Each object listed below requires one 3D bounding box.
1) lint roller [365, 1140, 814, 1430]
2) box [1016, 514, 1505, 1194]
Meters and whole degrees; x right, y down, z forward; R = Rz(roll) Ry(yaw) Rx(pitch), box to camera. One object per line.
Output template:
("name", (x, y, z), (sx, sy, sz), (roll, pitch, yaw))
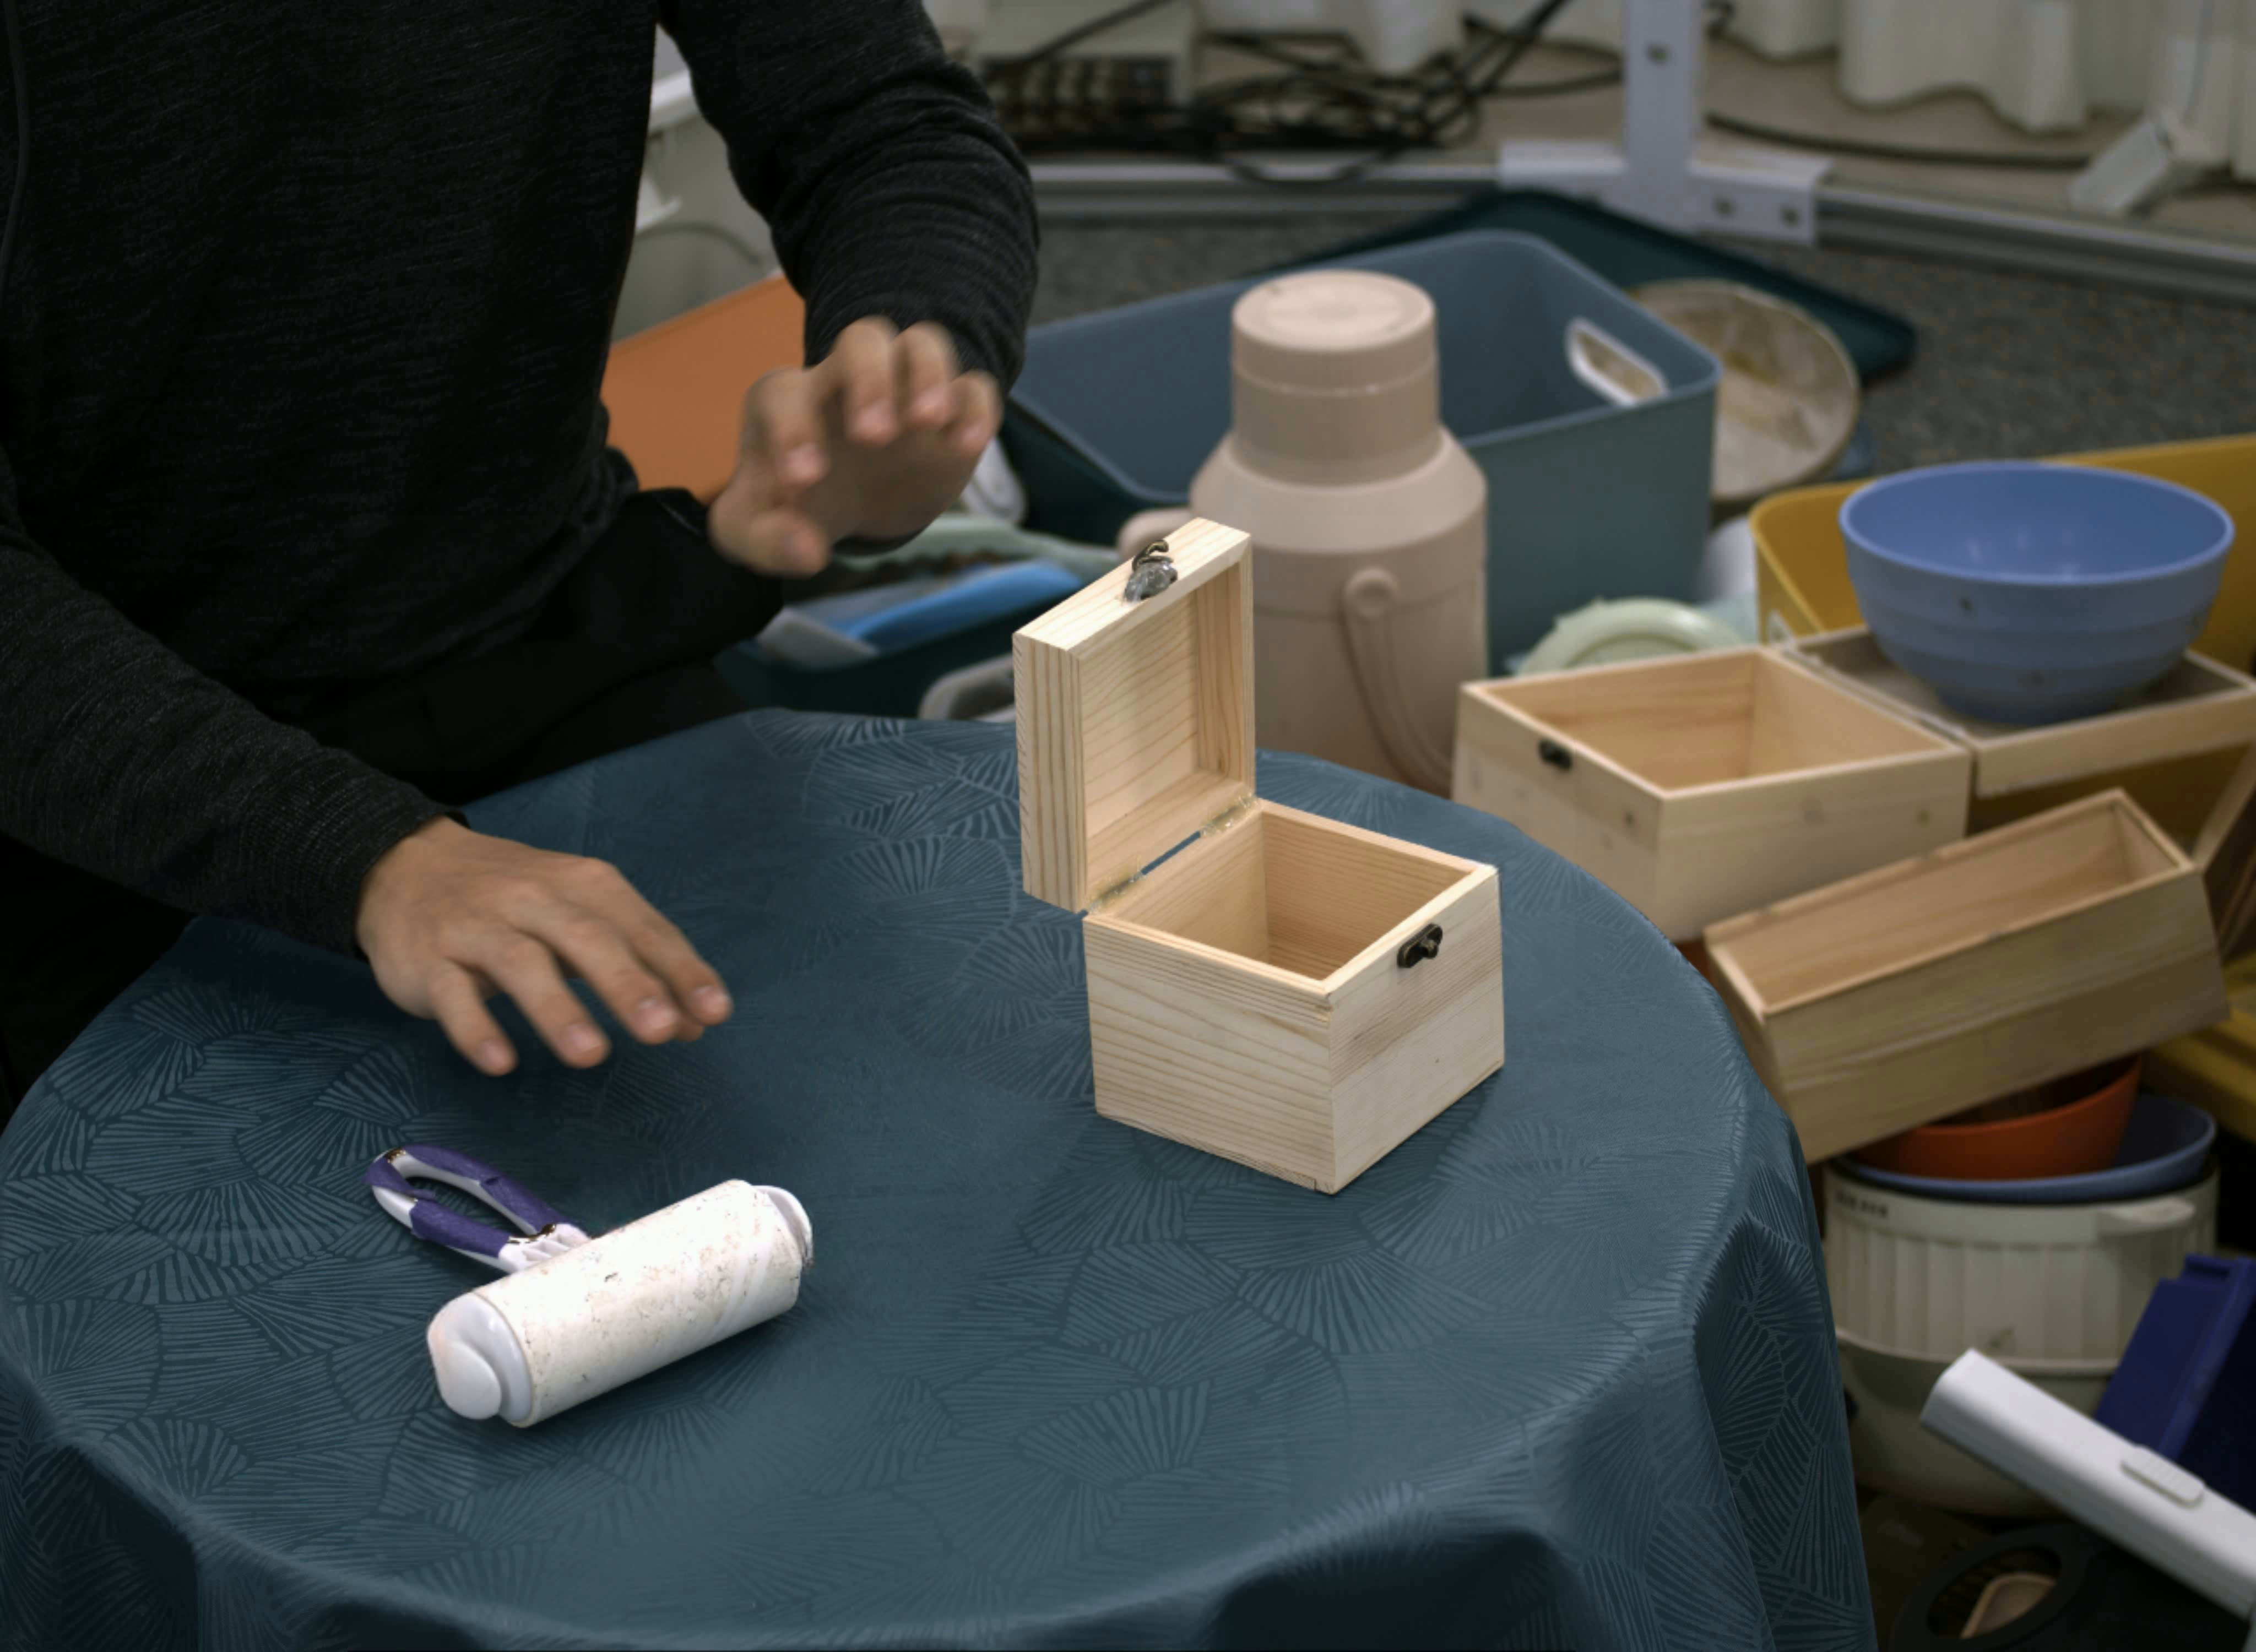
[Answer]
("lint roller", (-0.196, 0.127, 1.819), (0.134, 0.049, 0.181), (-21, 34, -29))
("box", (0.047, 0.007, 1.881), (0.133, 0.182, 0.104), (16, 32, 34))
